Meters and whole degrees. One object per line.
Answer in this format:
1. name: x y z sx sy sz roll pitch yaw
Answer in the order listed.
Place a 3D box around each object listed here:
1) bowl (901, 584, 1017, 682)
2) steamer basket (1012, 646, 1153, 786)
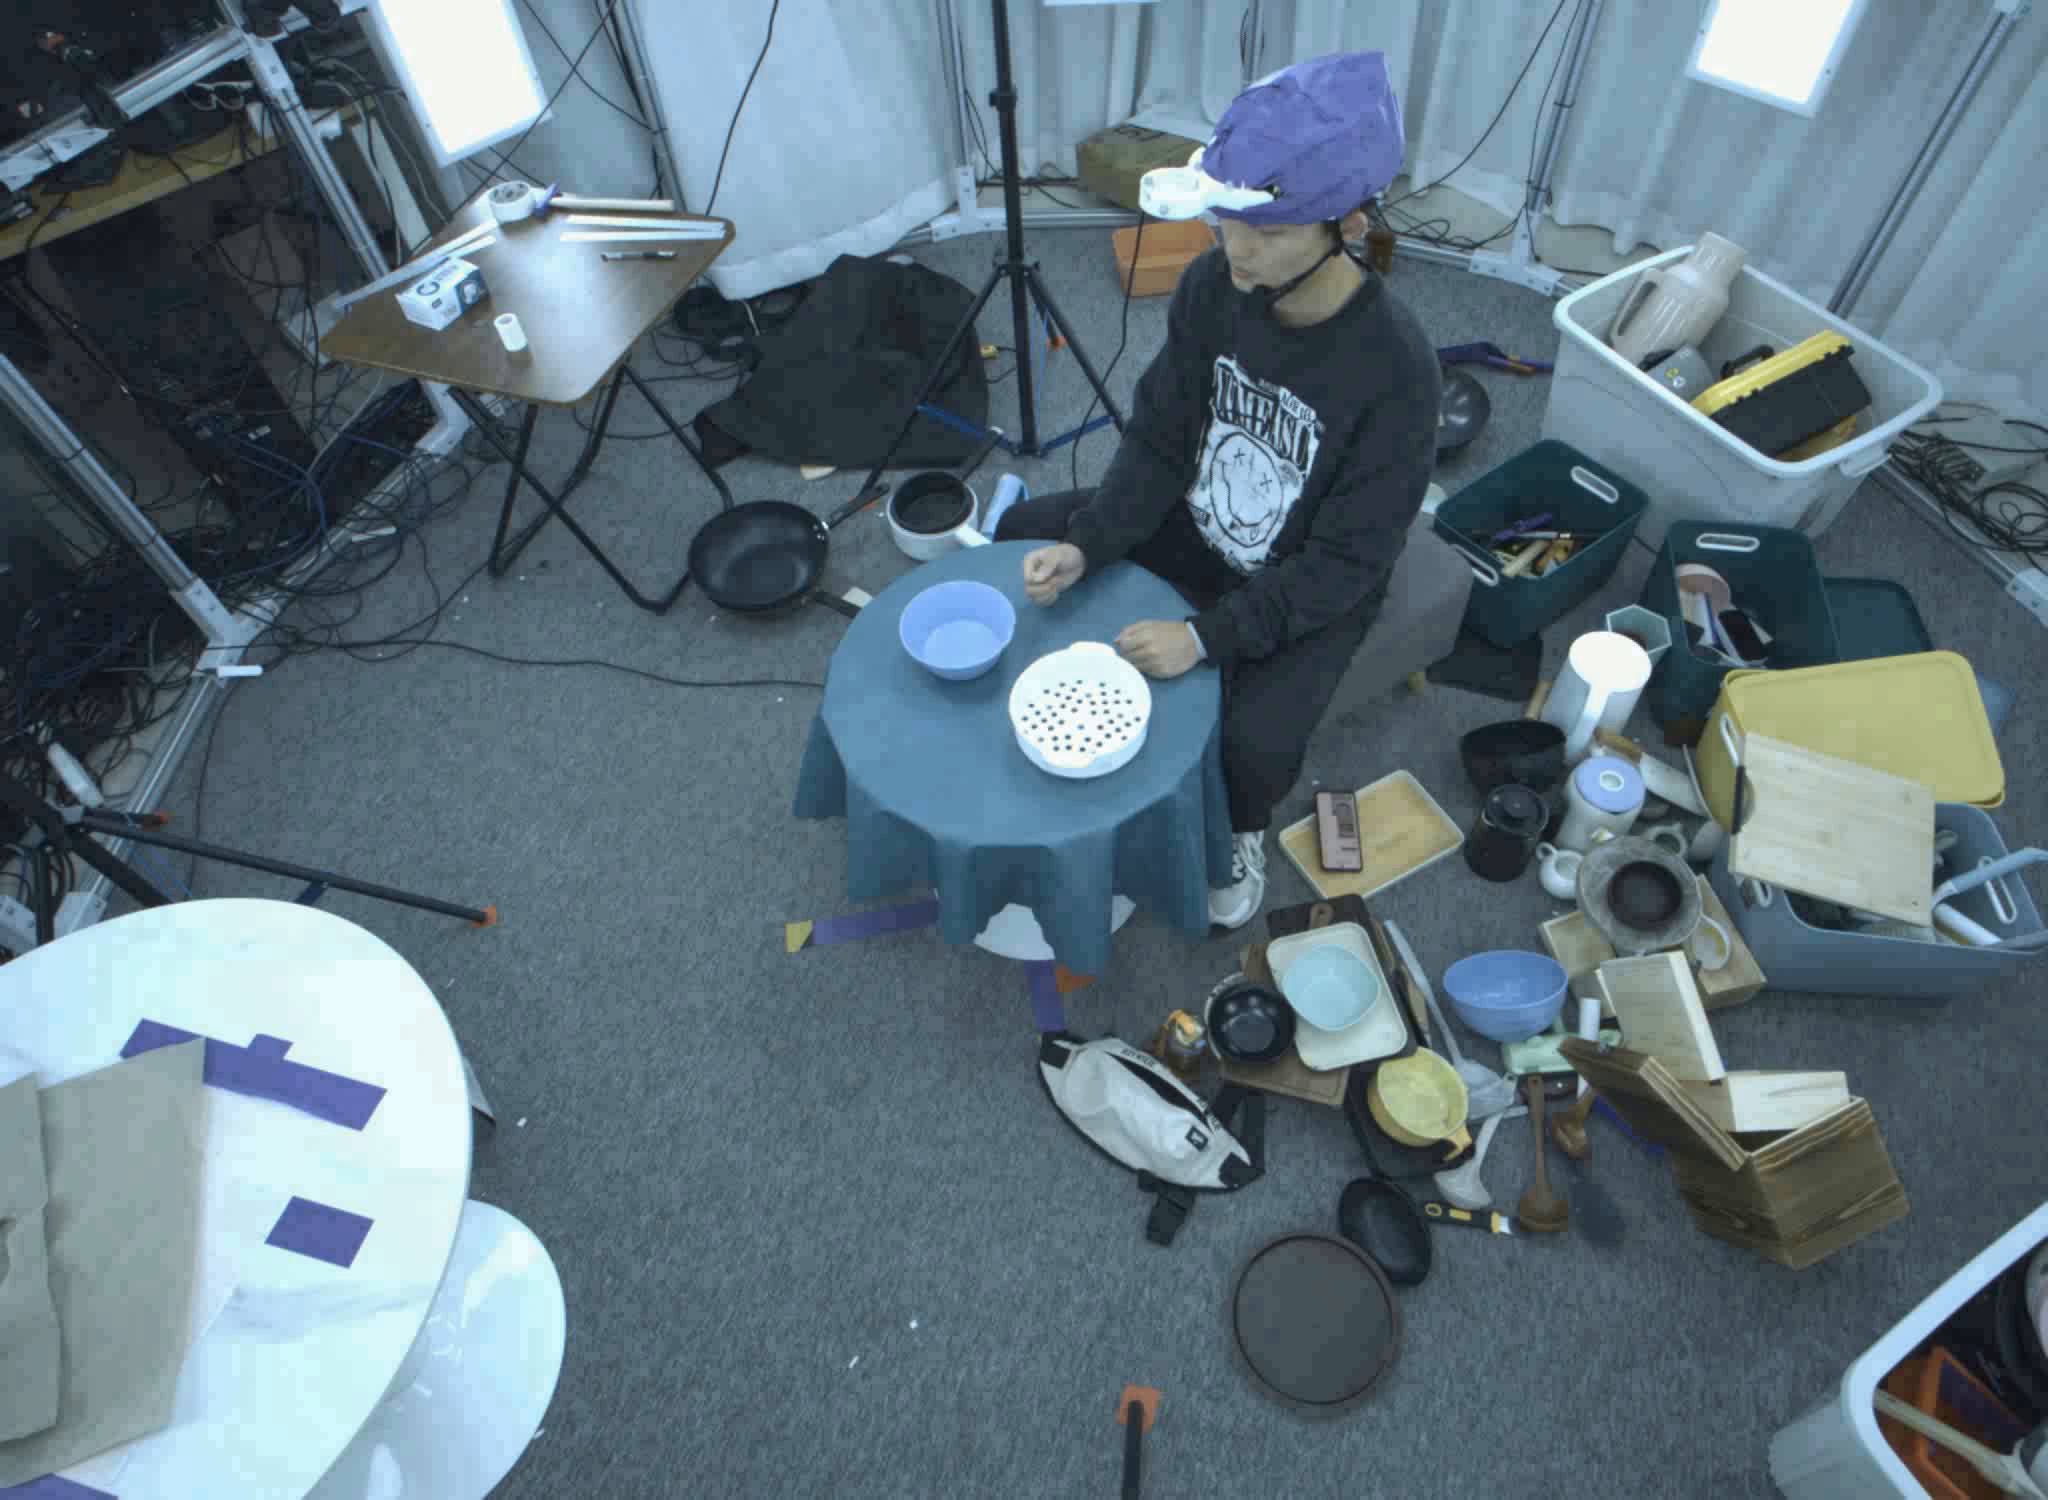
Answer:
1. bowl: -0.098 -0.169 1.876 0.176 0.071 0.174 0 55 1
2. steamer basket: 0.085 -0.043 1.783 0.201 0.070 0.229 8 58 8
